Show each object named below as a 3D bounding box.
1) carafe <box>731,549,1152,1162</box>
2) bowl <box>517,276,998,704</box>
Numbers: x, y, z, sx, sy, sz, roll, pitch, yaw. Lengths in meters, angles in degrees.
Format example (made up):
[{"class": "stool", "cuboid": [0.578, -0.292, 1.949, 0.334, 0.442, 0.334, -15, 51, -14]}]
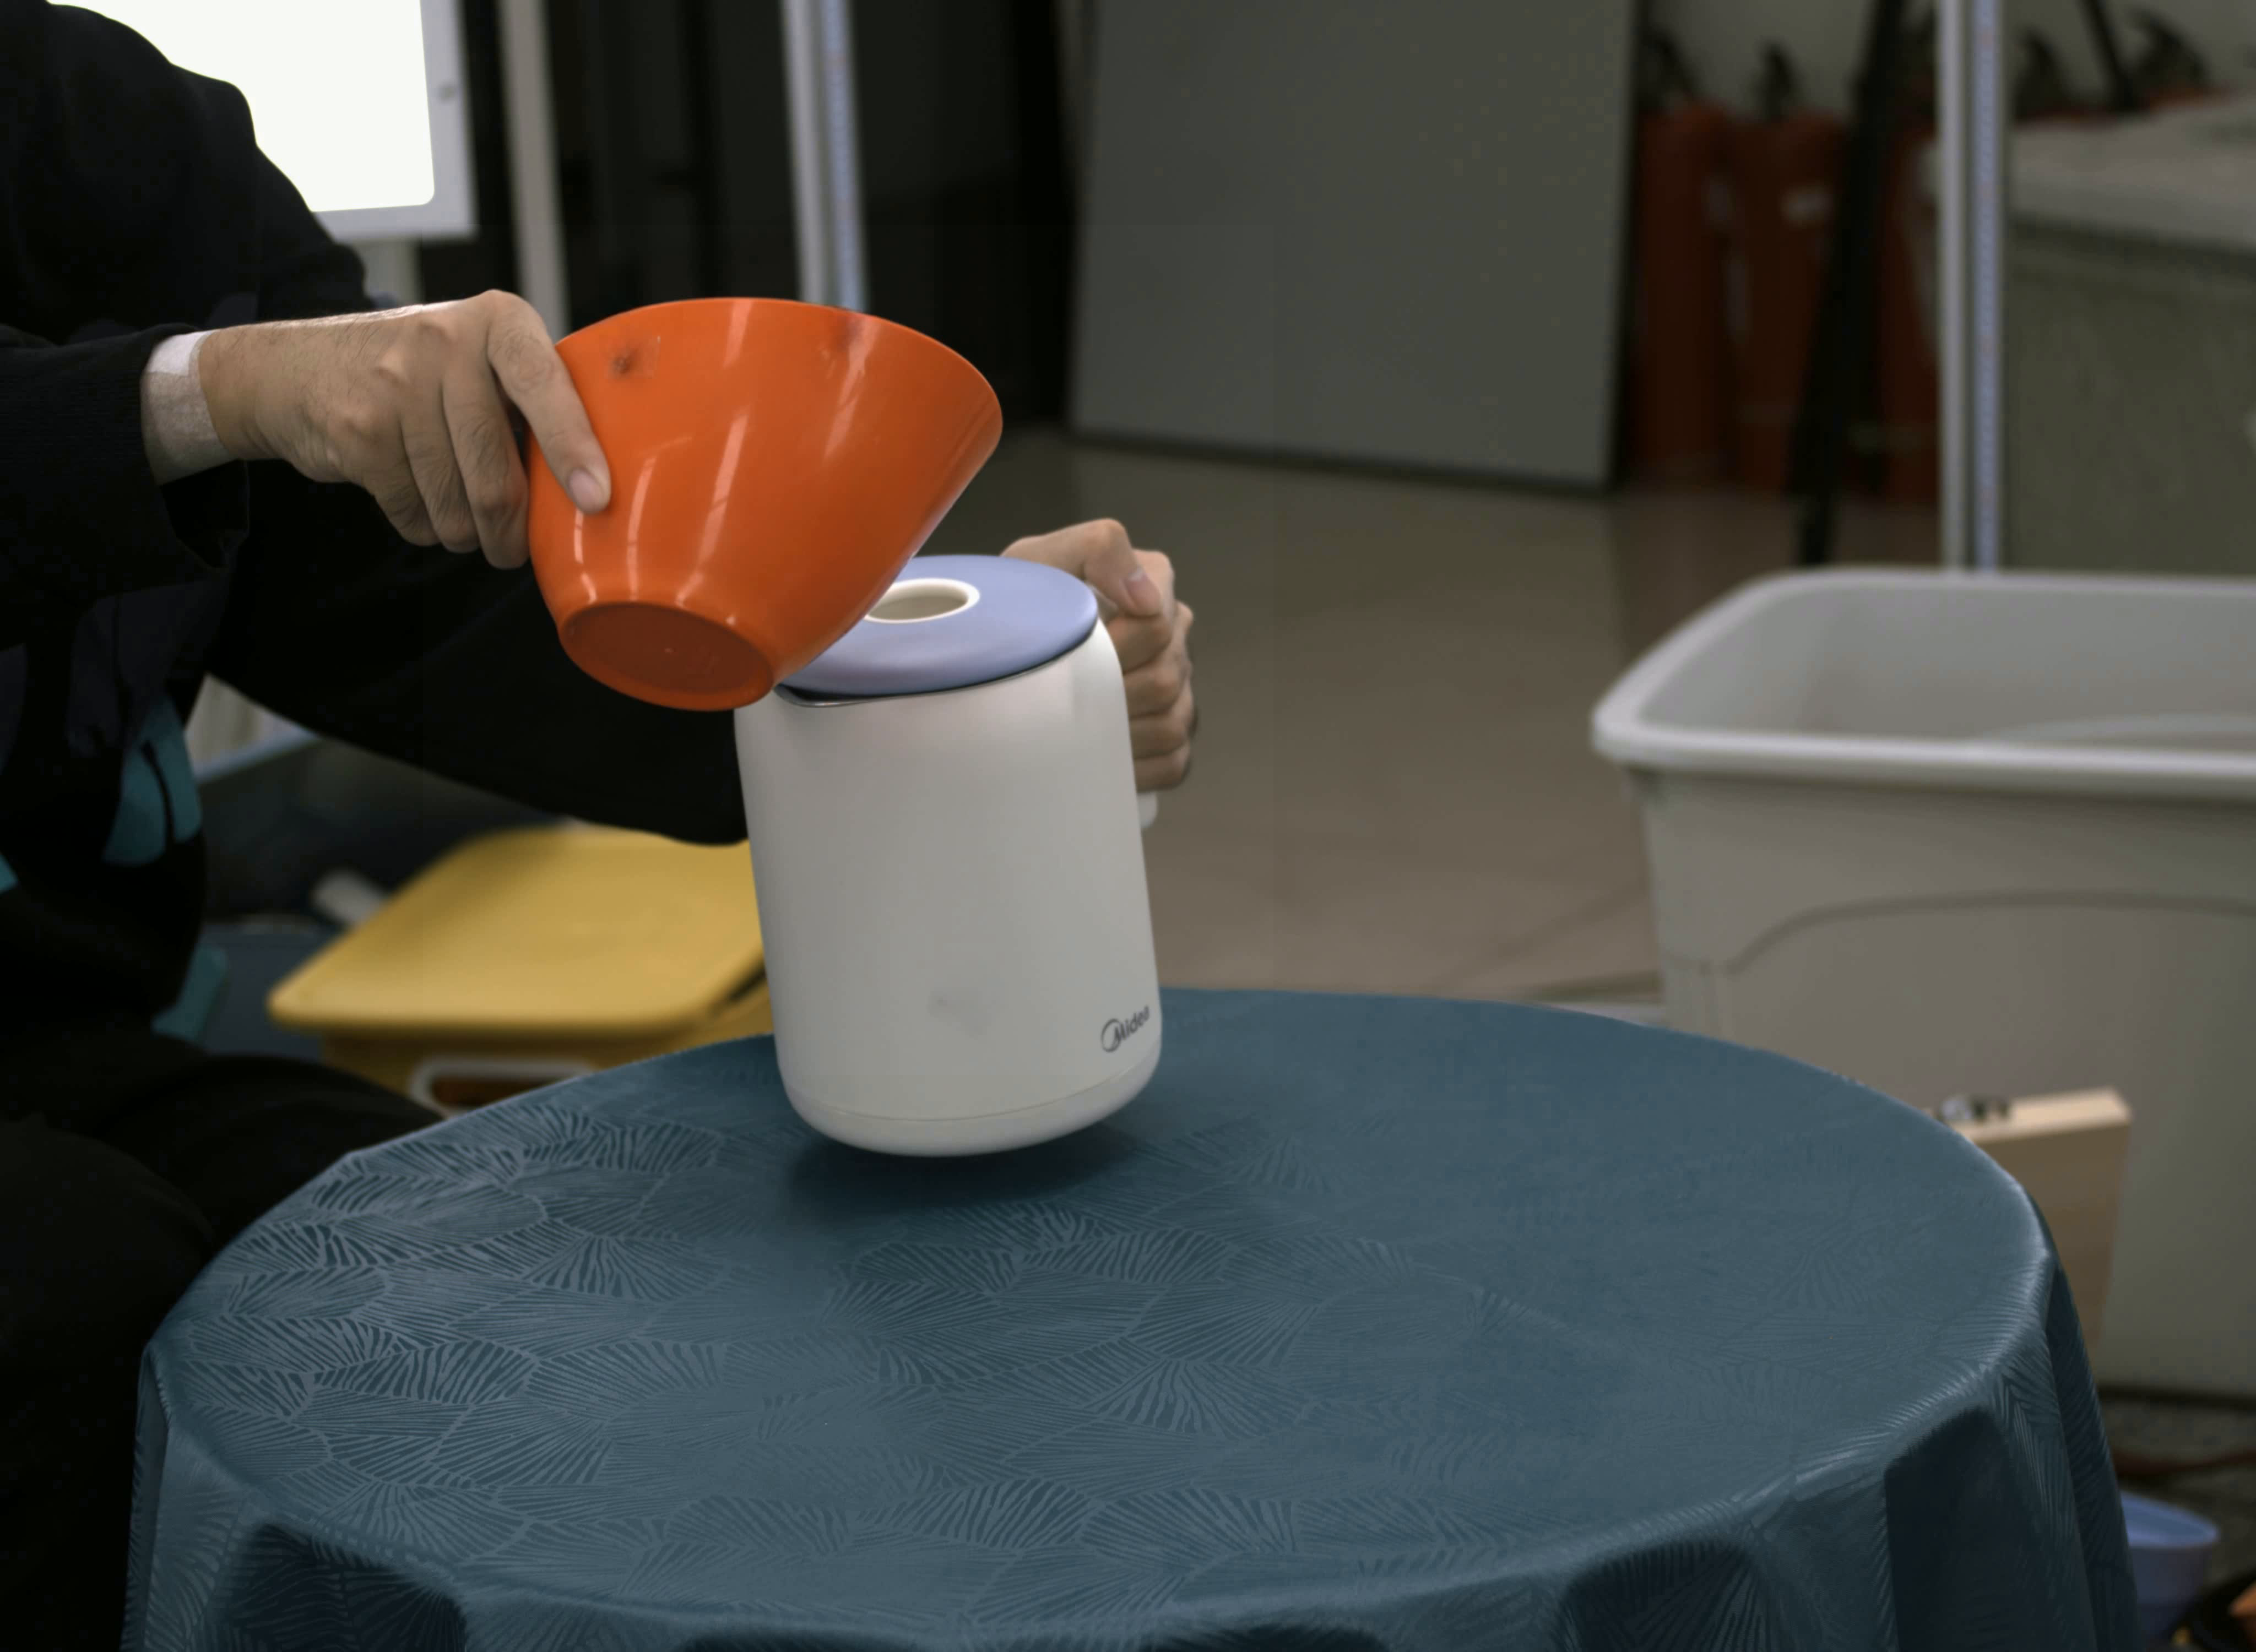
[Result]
[{"class": "carafe", "cuboid": [-0.050, 0.001, 1.815, 0.133, 0.184, 0.188, 7, 22, 30]}, {"class": "bowl", "cuboid": [-0.120, -0.095, 1.641, 0.146, 0.105, 0.148, 10, -27, 4]}]
